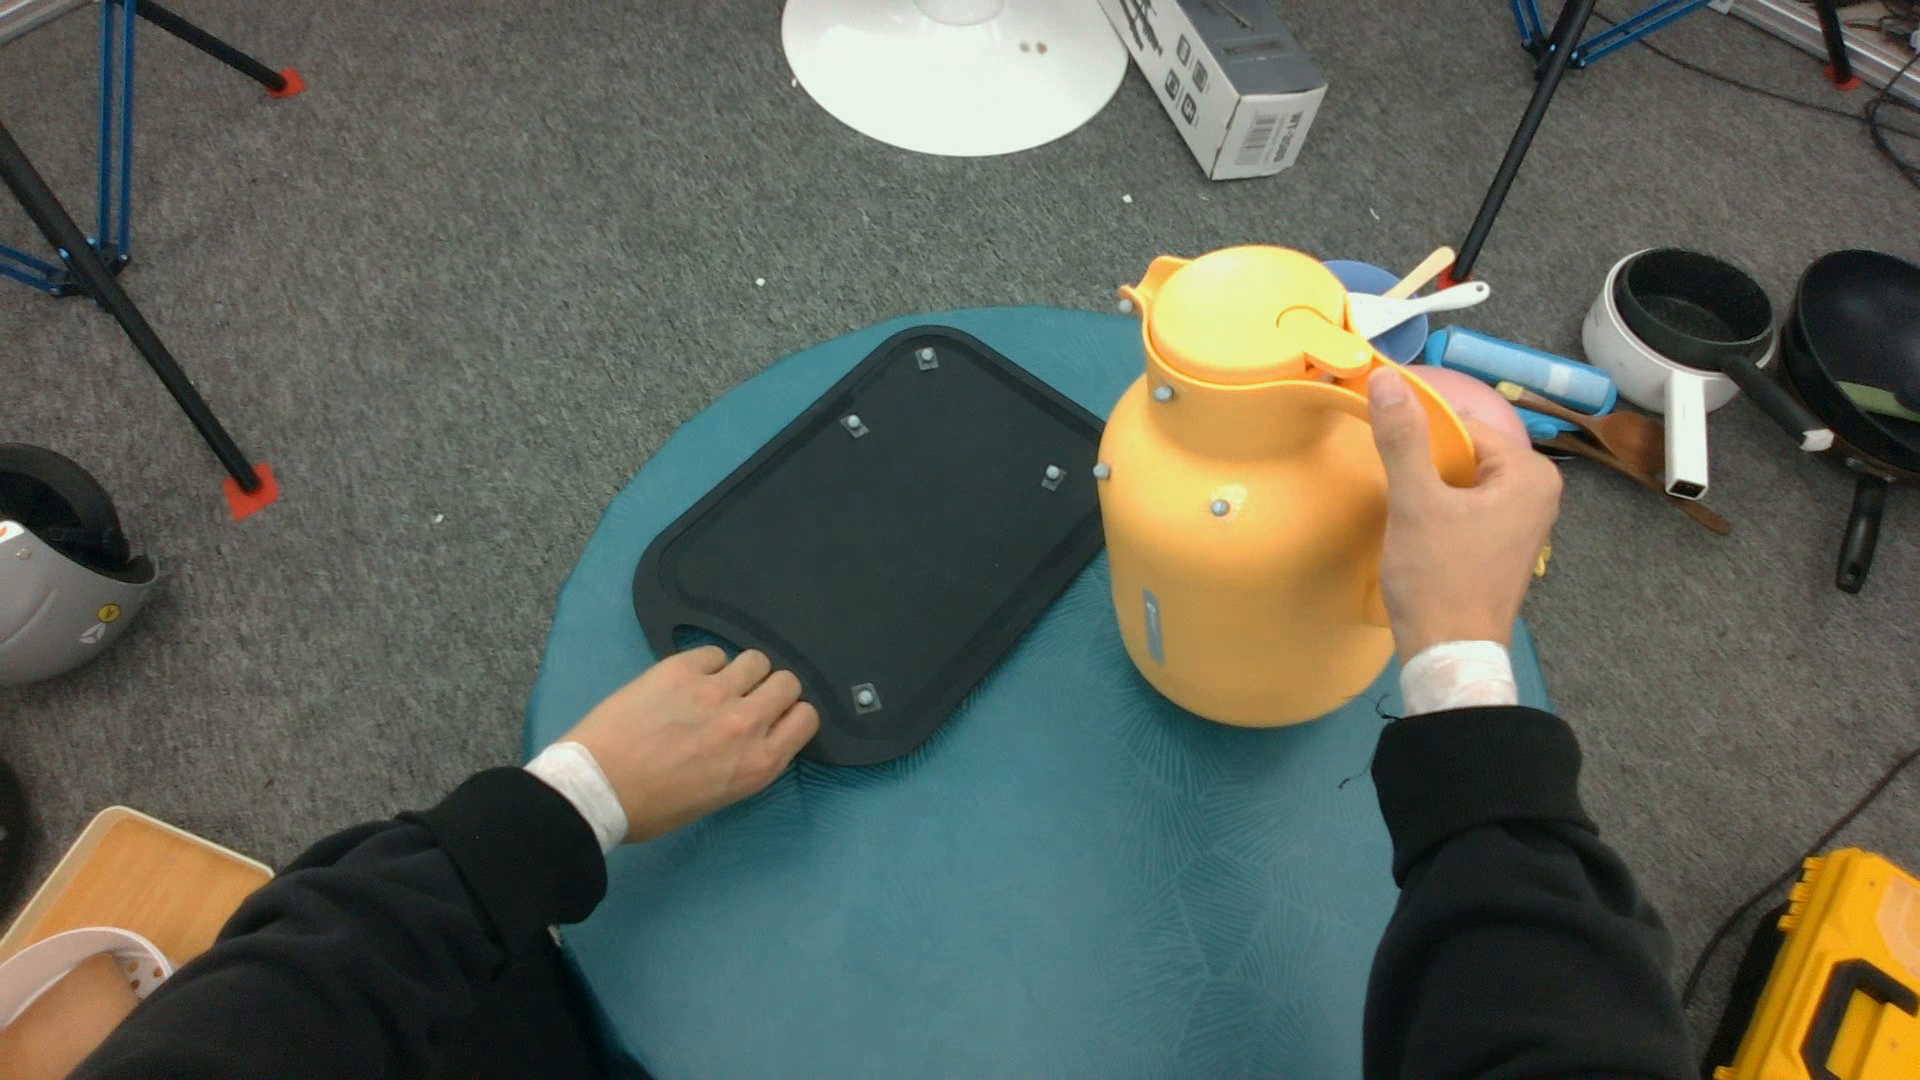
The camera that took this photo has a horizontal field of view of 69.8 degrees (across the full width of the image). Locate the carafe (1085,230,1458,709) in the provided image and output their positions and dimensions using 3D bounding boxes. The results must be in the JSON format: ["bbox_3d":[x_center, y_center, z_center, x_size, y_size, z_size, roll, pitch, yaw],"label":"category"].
[{"bbox_3d":[0.160,-0.027,0.717,0.164,0.259,0.202,-41,51,-19],"label":"carafe"}]

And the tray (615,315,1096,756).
[{"bbox_3d":[-0.050,-0.013,0.848,0.211,0.010,0.327,35,59,17],"label":"tray"}]
